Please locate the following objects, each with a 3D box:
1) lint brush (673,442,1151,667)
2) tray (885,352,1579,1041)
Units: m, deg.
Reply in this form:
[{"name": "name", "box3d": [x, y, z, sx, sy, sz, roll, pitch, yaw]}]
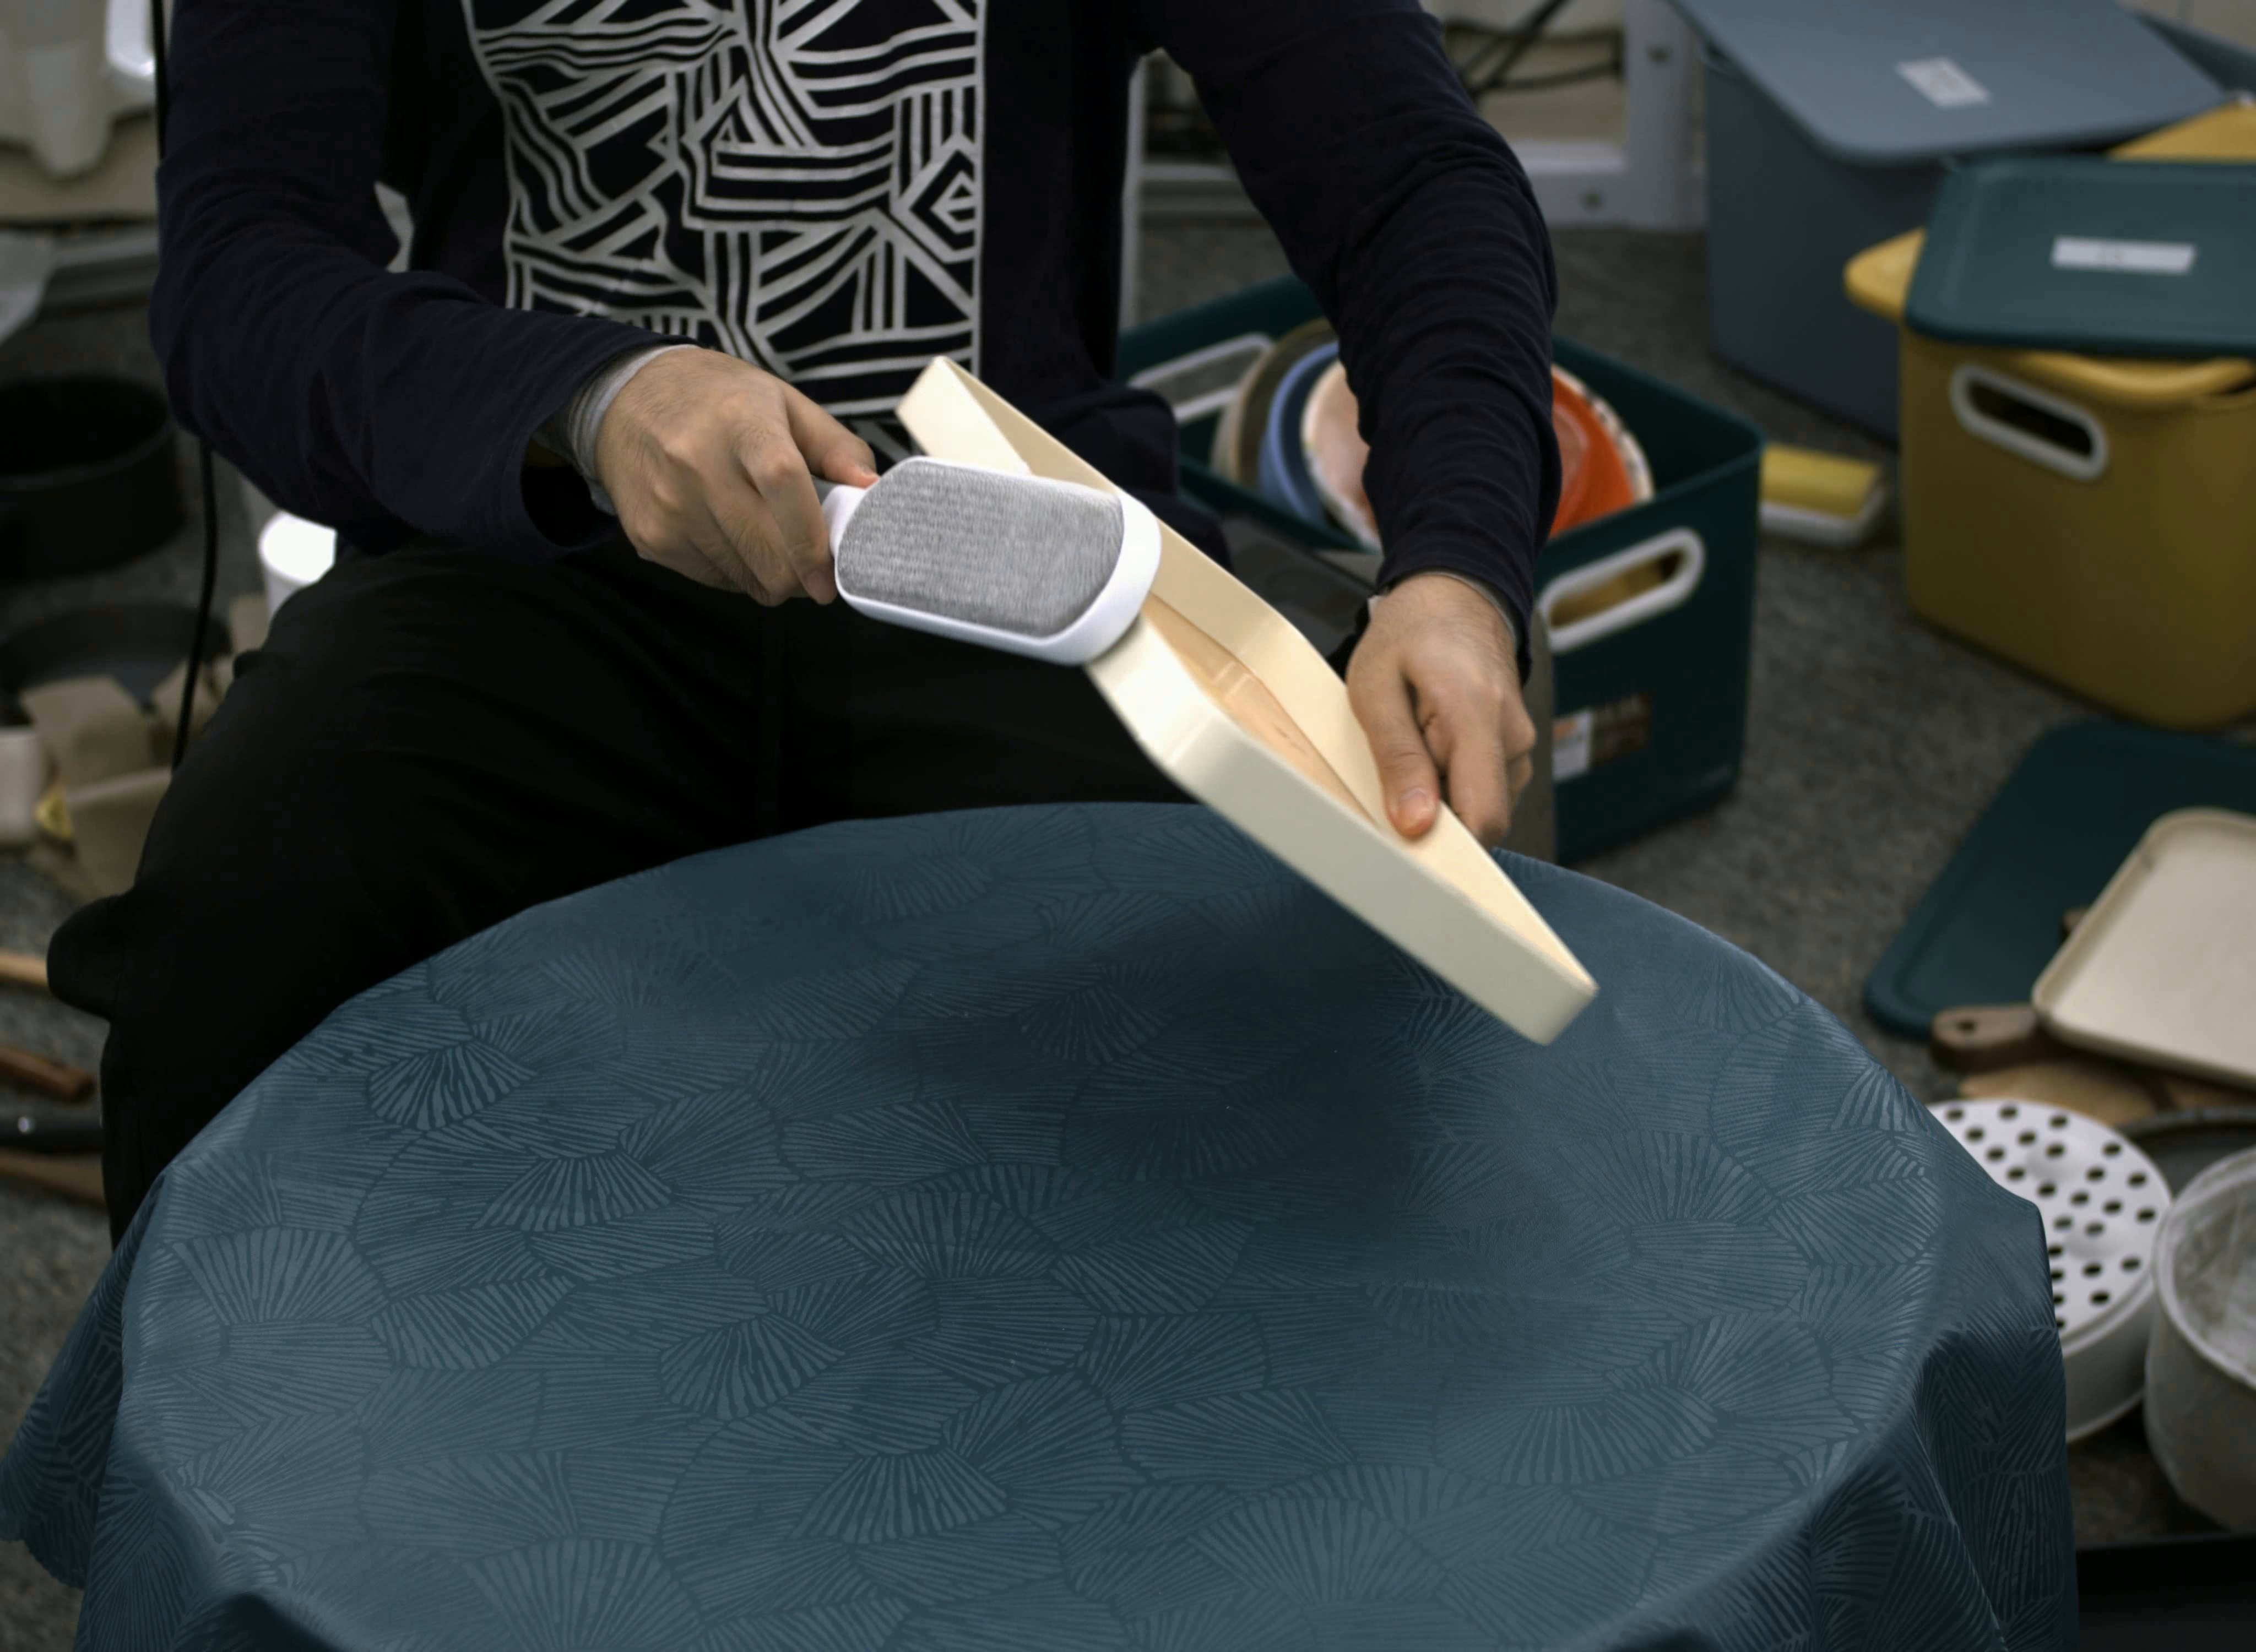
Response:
[{"name": "lint brush", "box3d": [-0.076, -0.097, 1.853, 0.021, 0.060, 0.308, 27, -5, -31]}, {"name": "tray", "box3d": [0.029, -0.047, 1.864, 0.027, 0.190, 0.303, -49, 30, 8]}]
